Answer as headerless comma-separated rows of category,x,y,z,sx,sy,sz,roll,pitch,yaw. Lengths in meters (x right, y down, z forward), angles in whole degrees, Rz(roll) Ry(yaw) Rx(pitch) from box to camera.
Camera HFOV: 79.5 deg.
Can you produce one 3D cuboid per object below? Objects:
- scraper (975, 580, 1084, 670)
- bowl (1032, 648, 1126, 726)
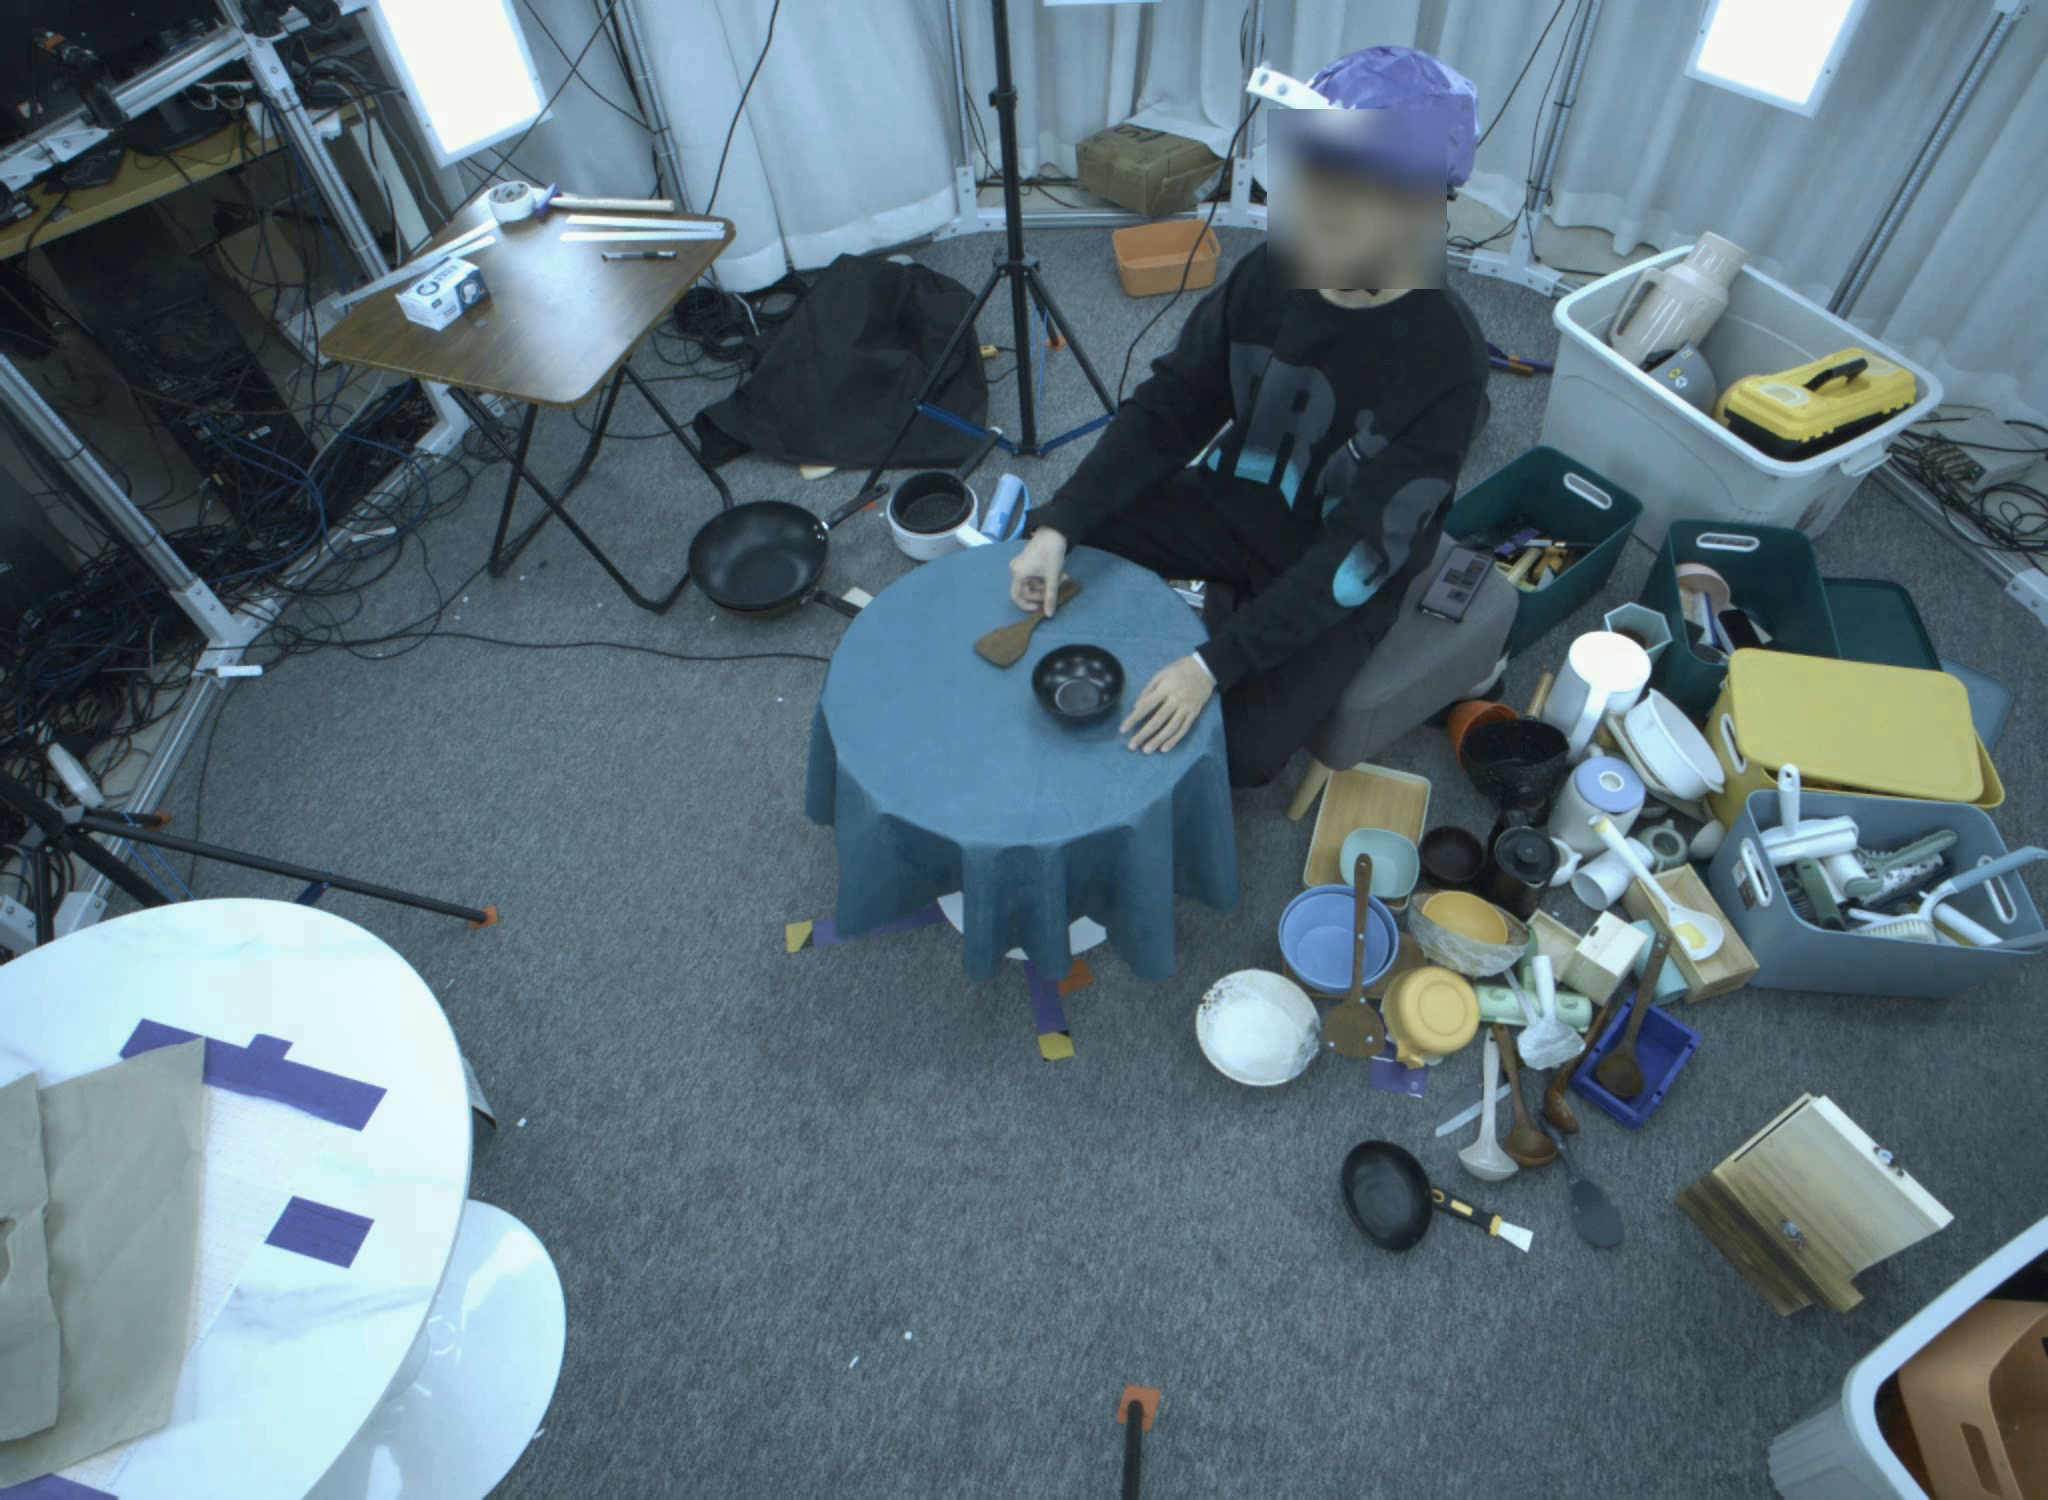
scraper,0.016,-0.202,1.931,0.074,0.011,0.212,37,66,23
bowl,0.083,-0.085,1.826,0.140,0.050,0.138,-1,52,3
